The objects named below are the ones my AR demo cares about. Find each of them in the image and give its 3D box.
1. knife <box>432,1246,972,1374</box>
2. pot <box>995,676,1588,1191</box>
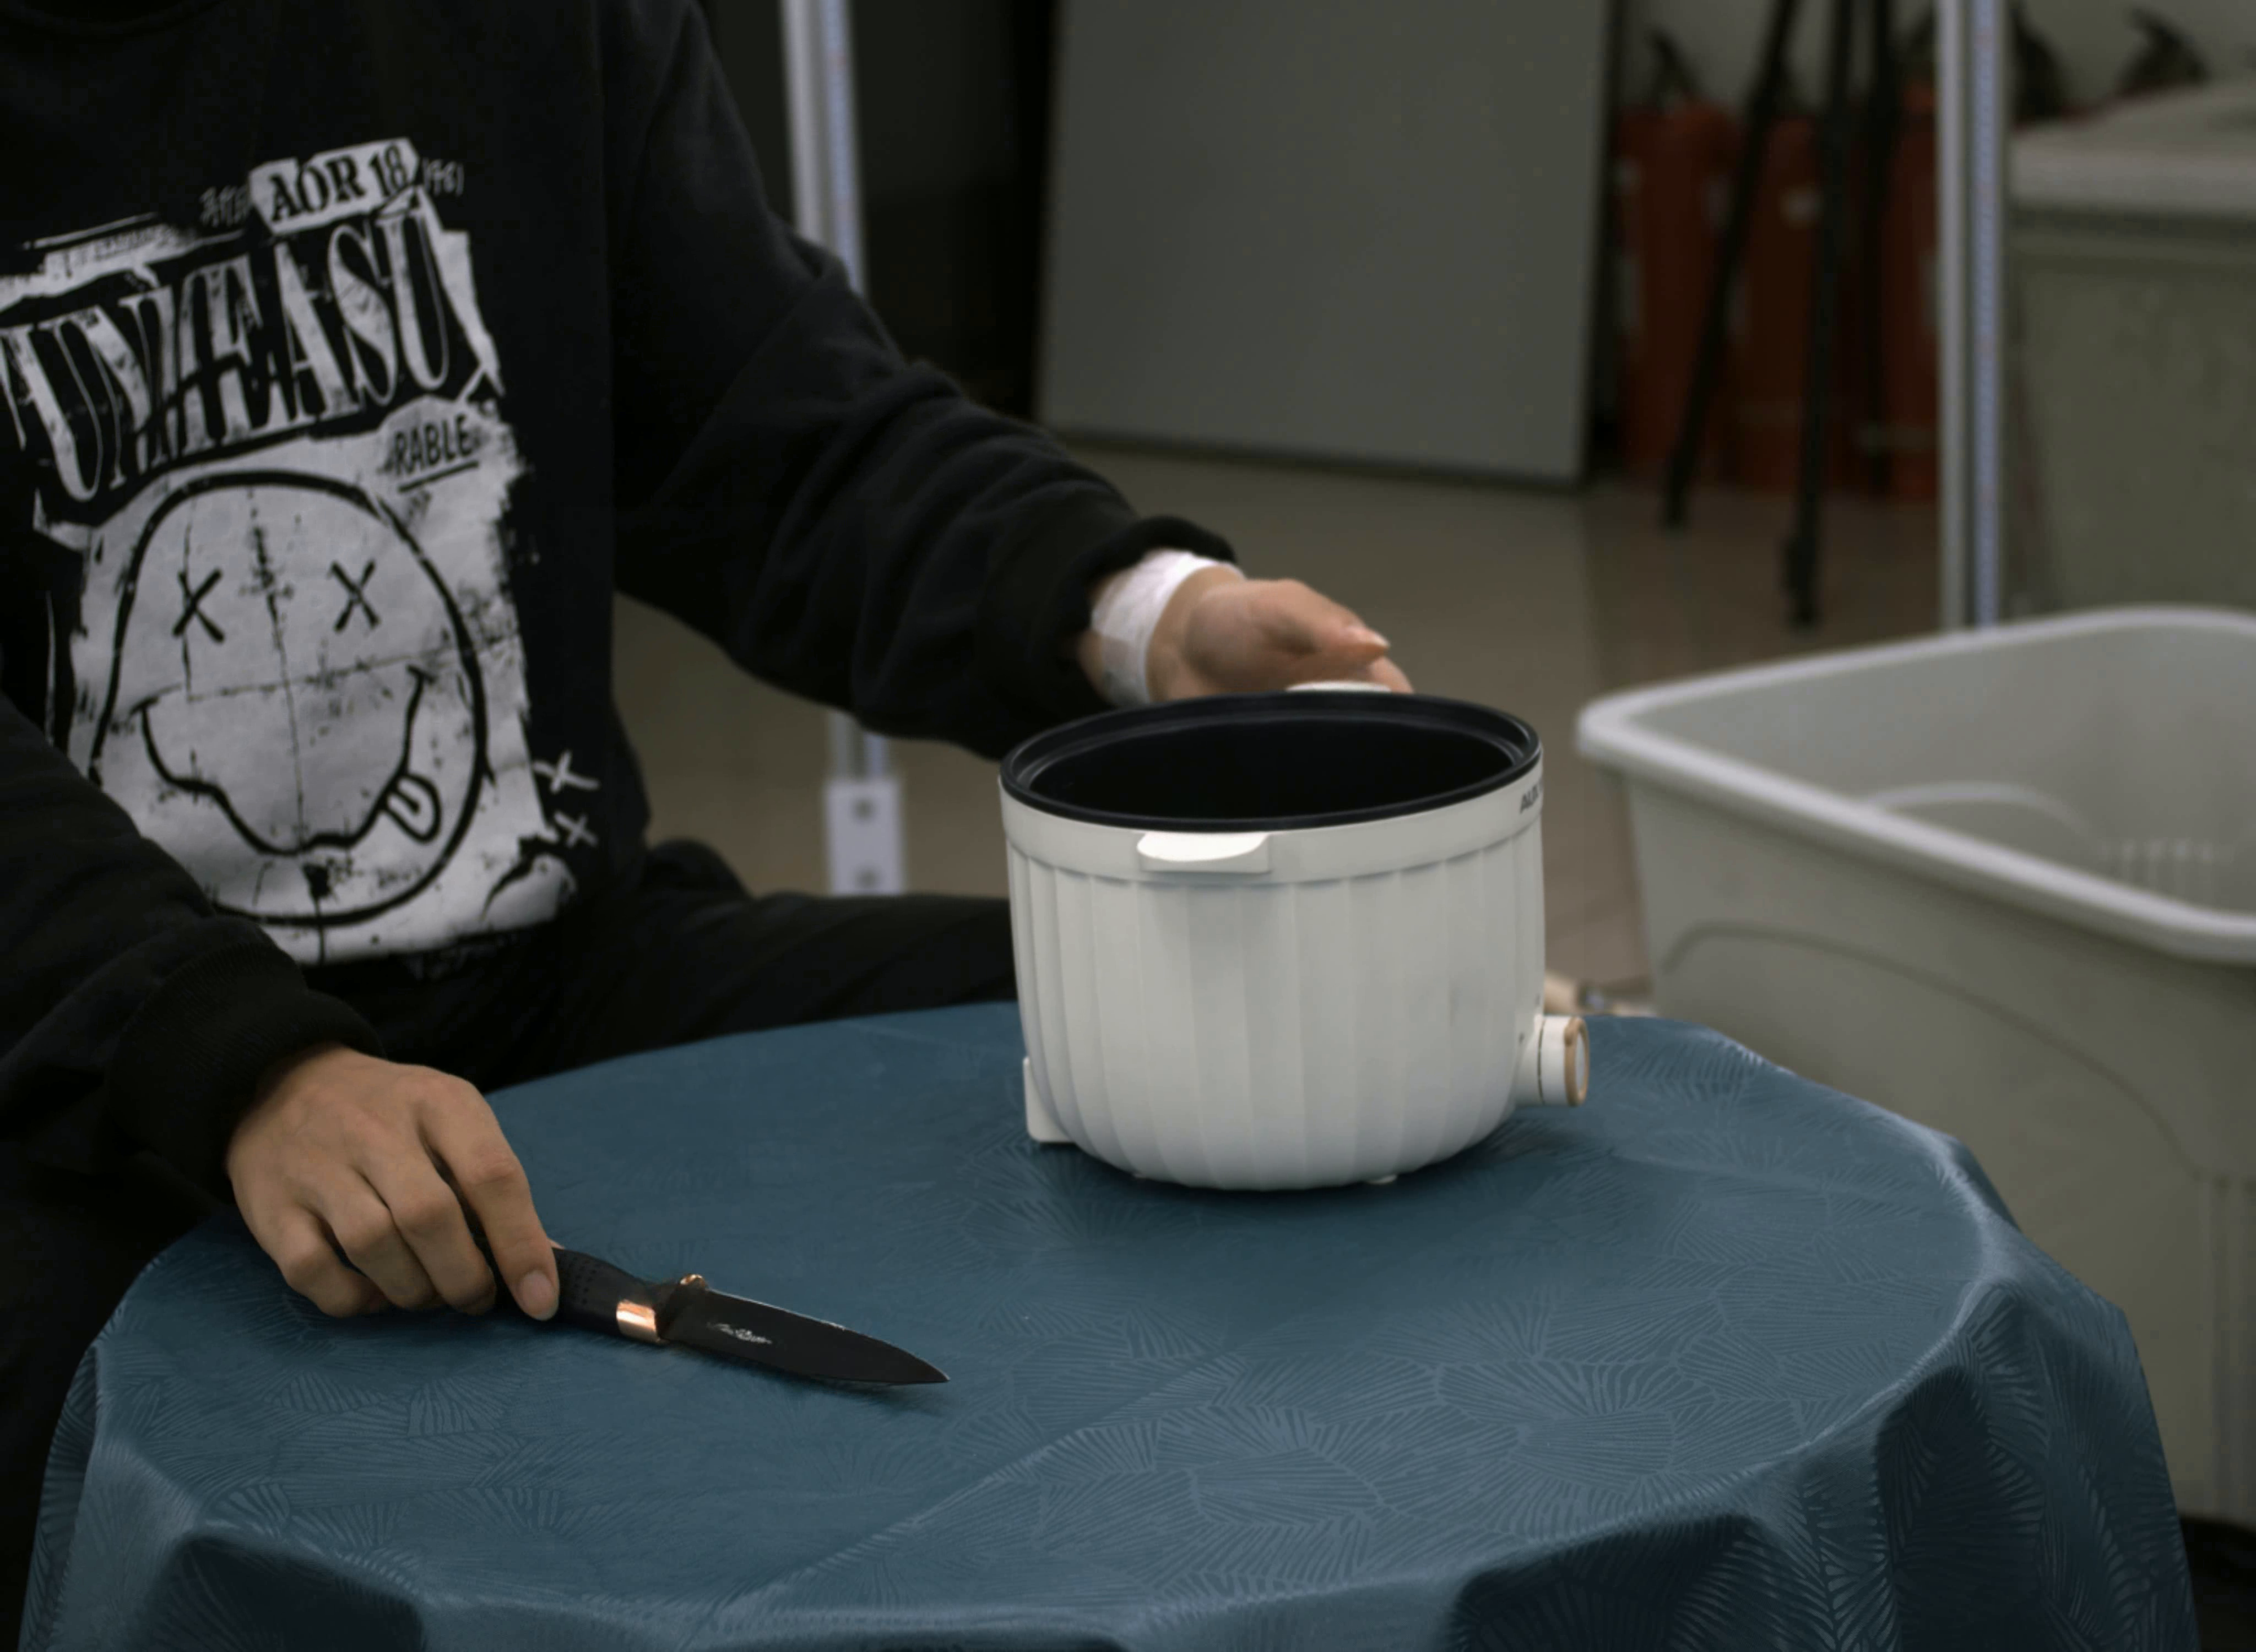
[{"bbox_3d":[-0.133,0.151,1.657,0.227,0.017,0.026,7,36,42],"label":"knife"},{"bbox_3d":[0.056,0.038,1.800,0.190,0.144,0.239,-3,15,16],"label":"pot"}]
